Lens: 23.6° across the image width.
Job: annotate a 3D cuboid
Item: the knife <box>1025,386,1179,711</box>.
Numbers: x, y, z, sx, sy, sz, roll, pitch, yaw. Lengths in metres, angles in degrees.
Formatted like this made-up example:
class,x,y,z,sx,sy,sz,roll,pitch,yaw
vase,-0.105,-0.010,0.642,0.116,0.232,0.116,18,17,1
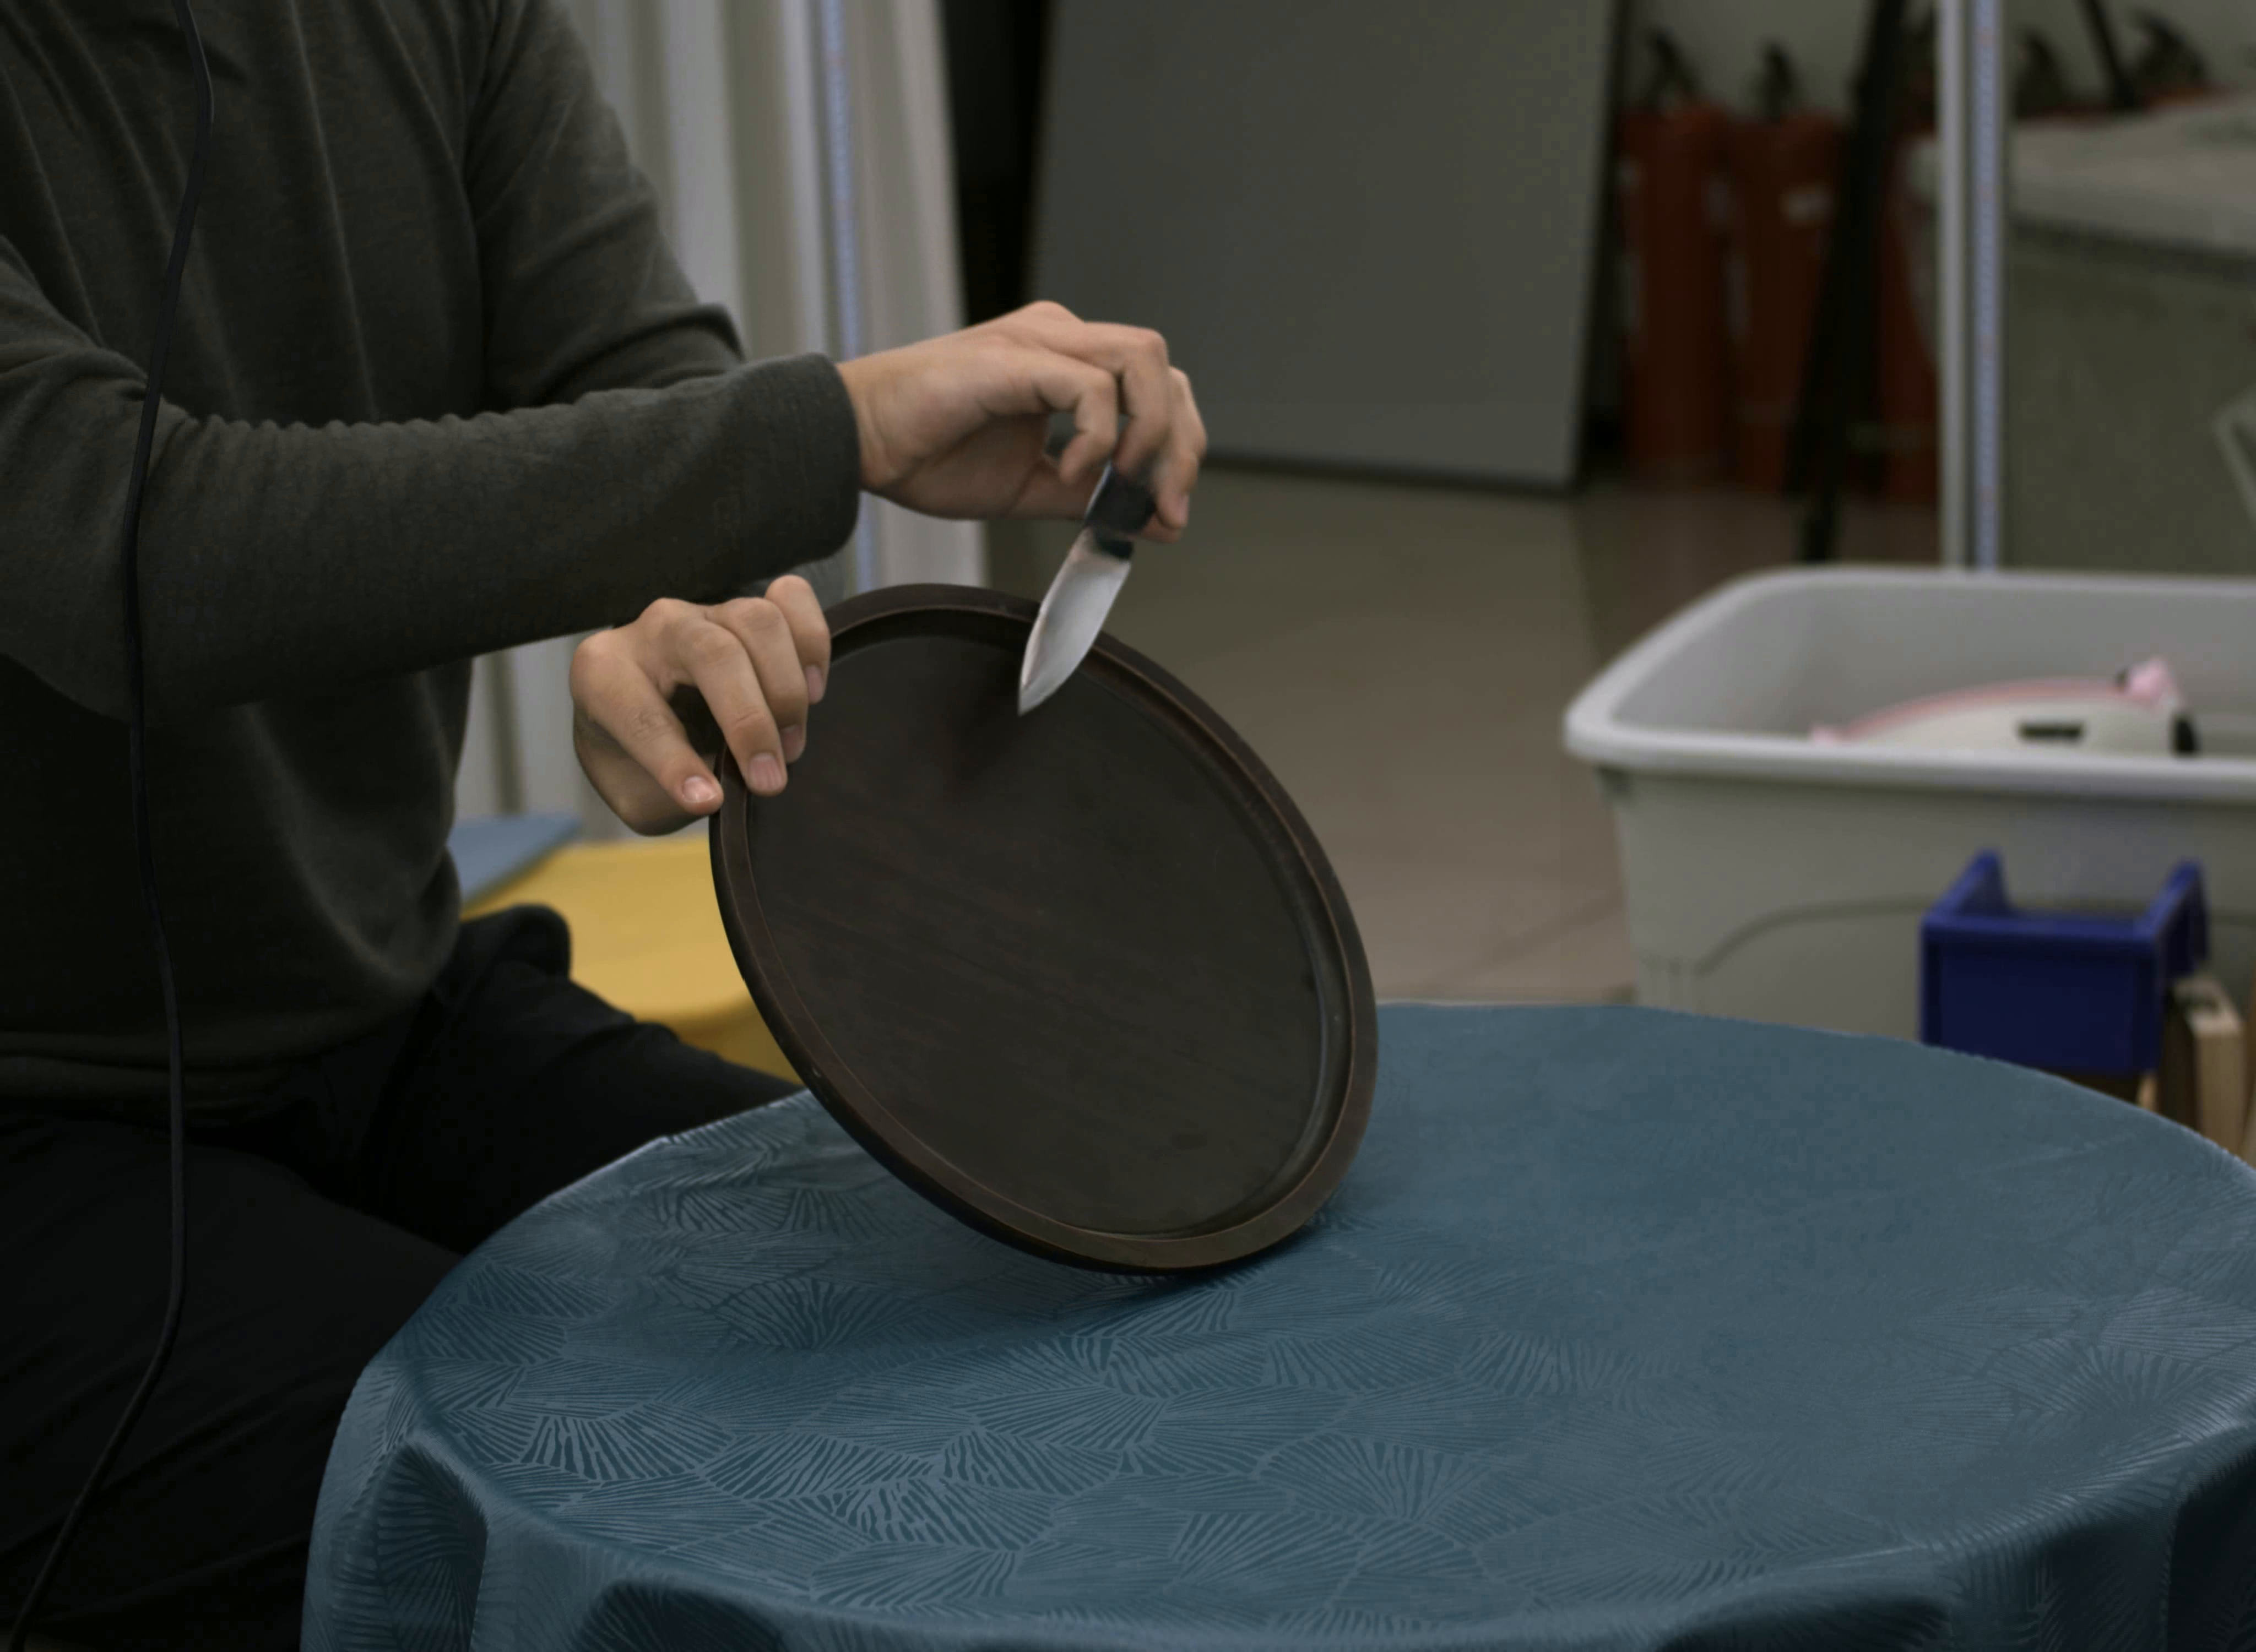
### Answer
class,x,y,z,sx,sy,sz,roll,pitch,yaw
knife,-0.012,-0.095,1.818,0.016,0.024,0.238,-36,16,26

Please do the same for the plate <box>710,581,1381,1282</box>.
class,x,y,z,sx,sy,sz,roll,pitch,yaw
plate,-0.026,0.033,1.729,0.250,0.257,0.029,-17,-19,-46
